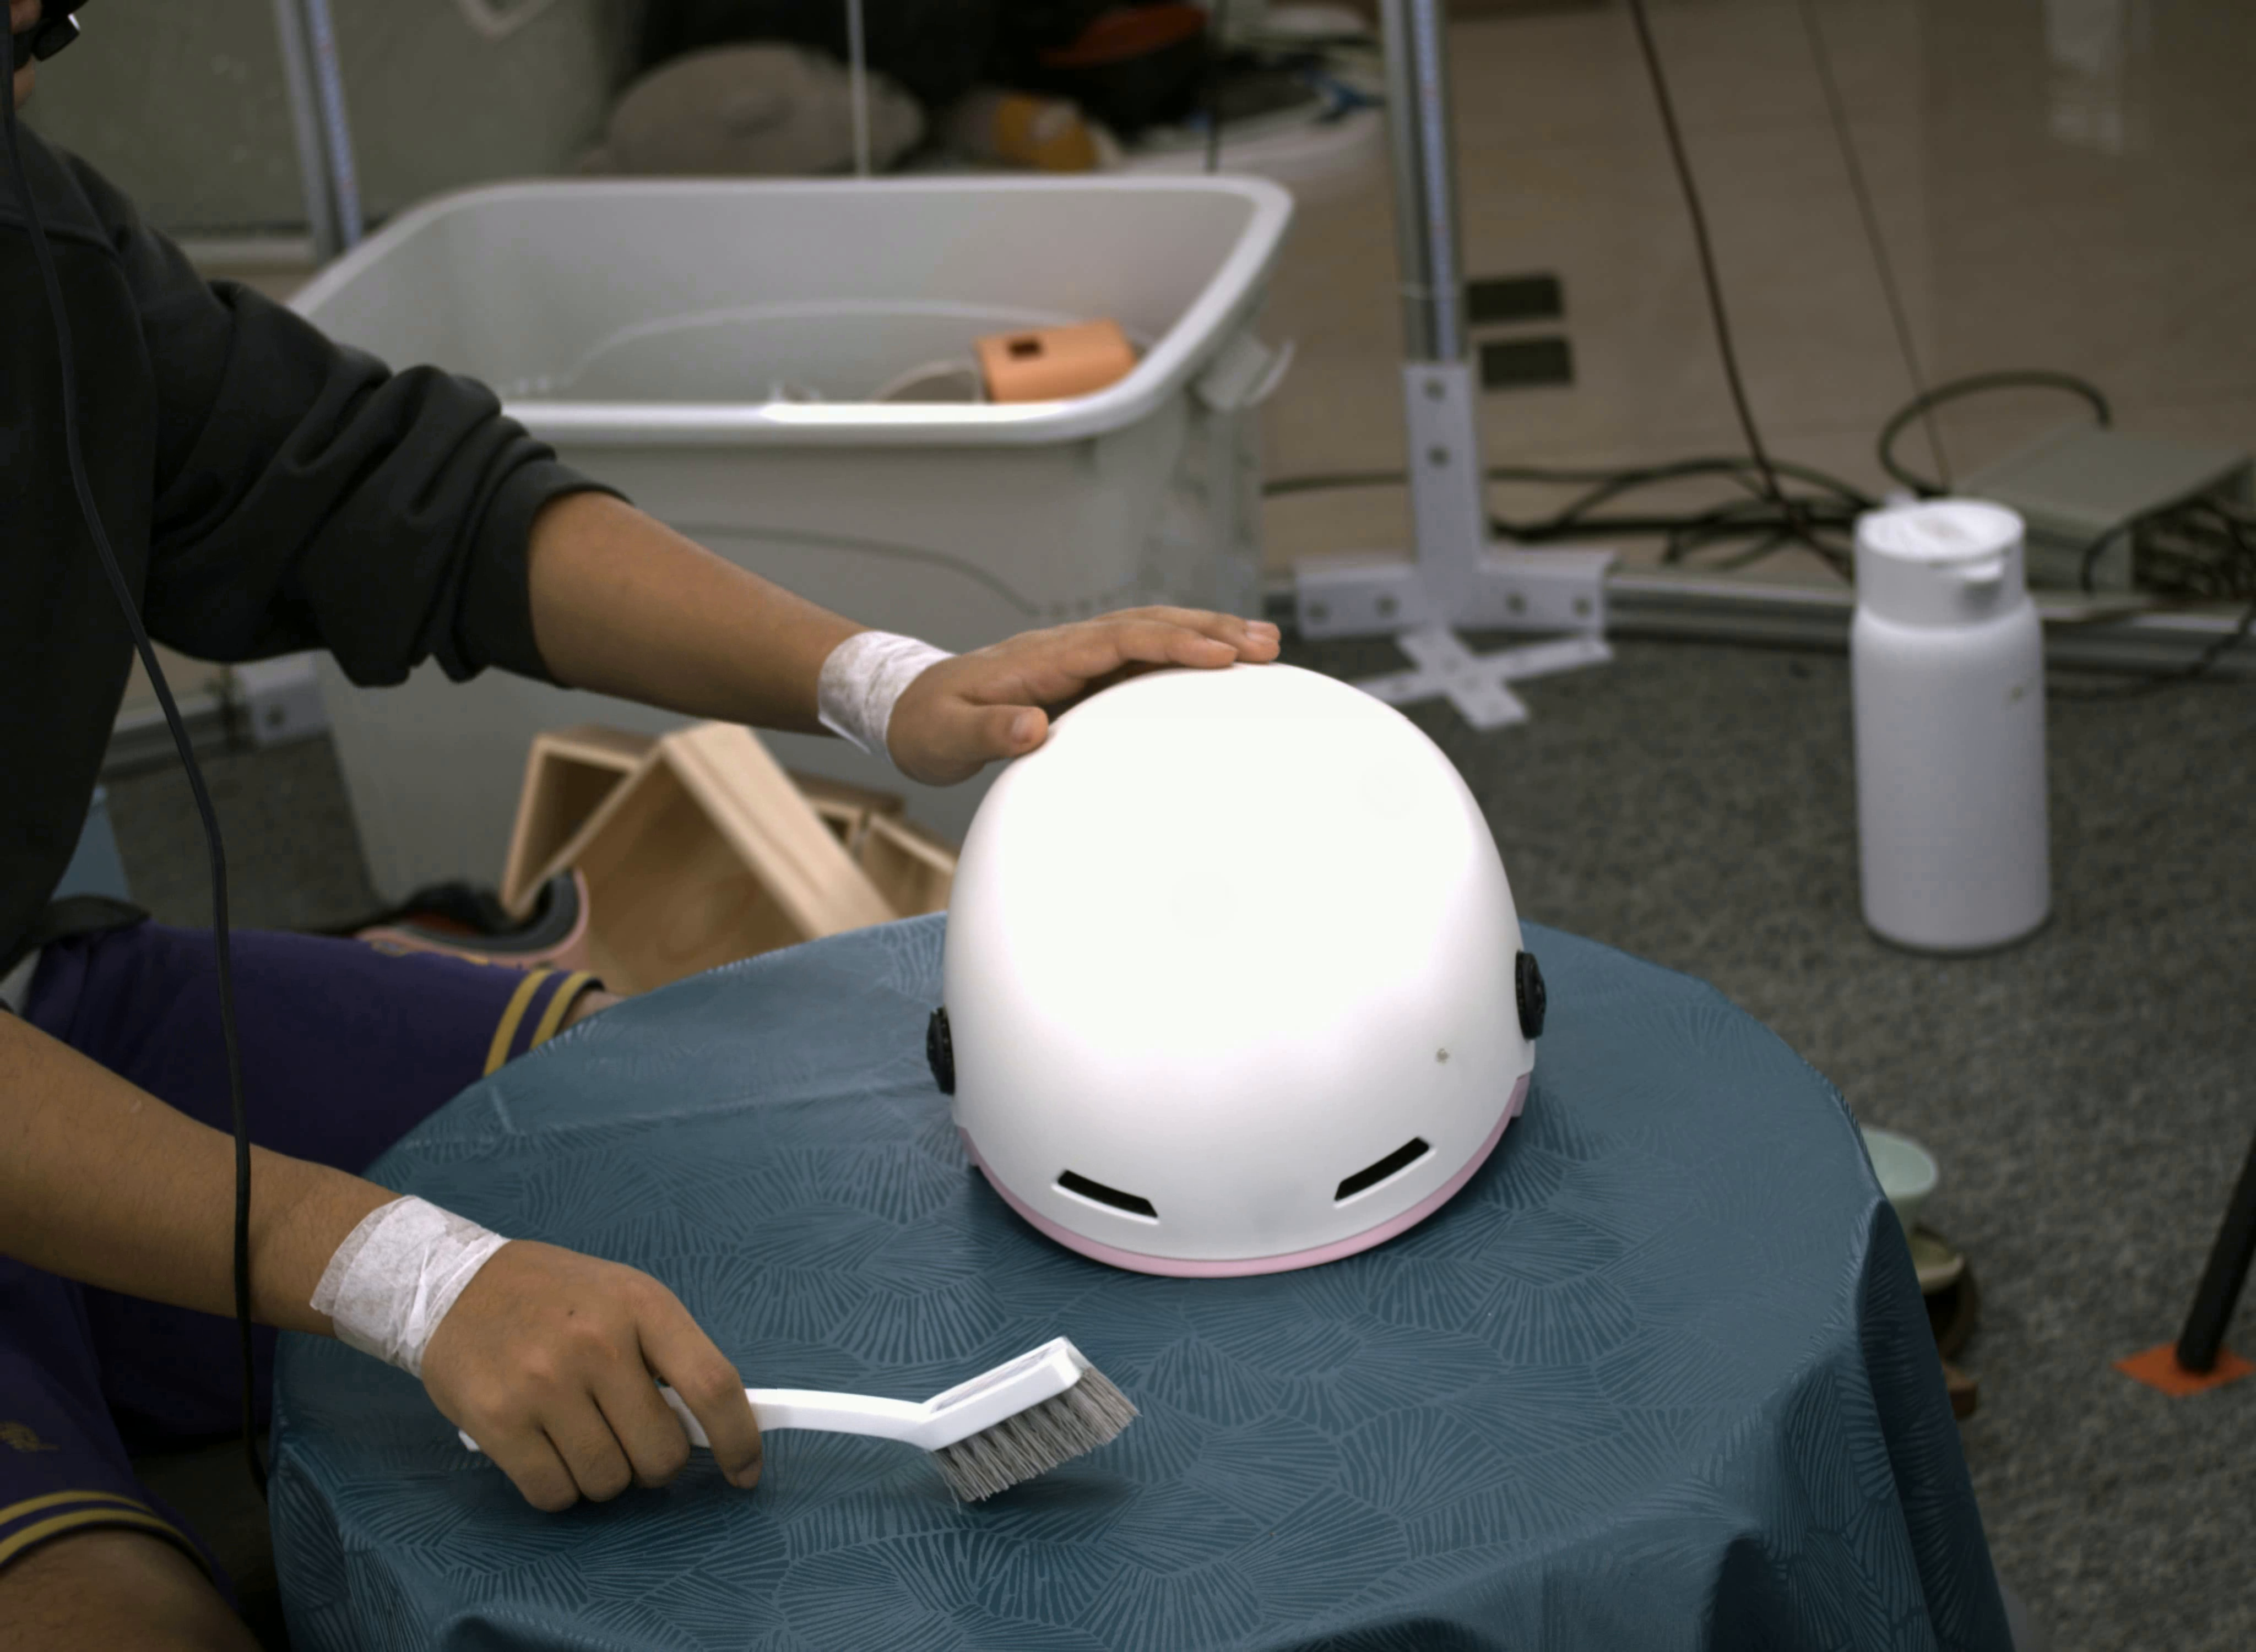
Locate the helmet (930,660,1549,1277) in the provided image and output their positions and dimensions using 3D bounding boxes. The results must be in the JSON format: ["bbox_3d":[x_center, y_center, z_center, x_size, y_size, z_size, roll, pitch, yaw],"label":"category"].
[{"bbox_3d":[0.040,0.036,2.161,0.237,0.170,0.264,-4,26,4],"label":"helmet"}]

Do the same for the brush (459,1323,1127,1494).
[{"bbox_3d":[-0.118,0.216,1.975,0.243,0.050,0.034,-11,12,18],"label":"brush"}]
